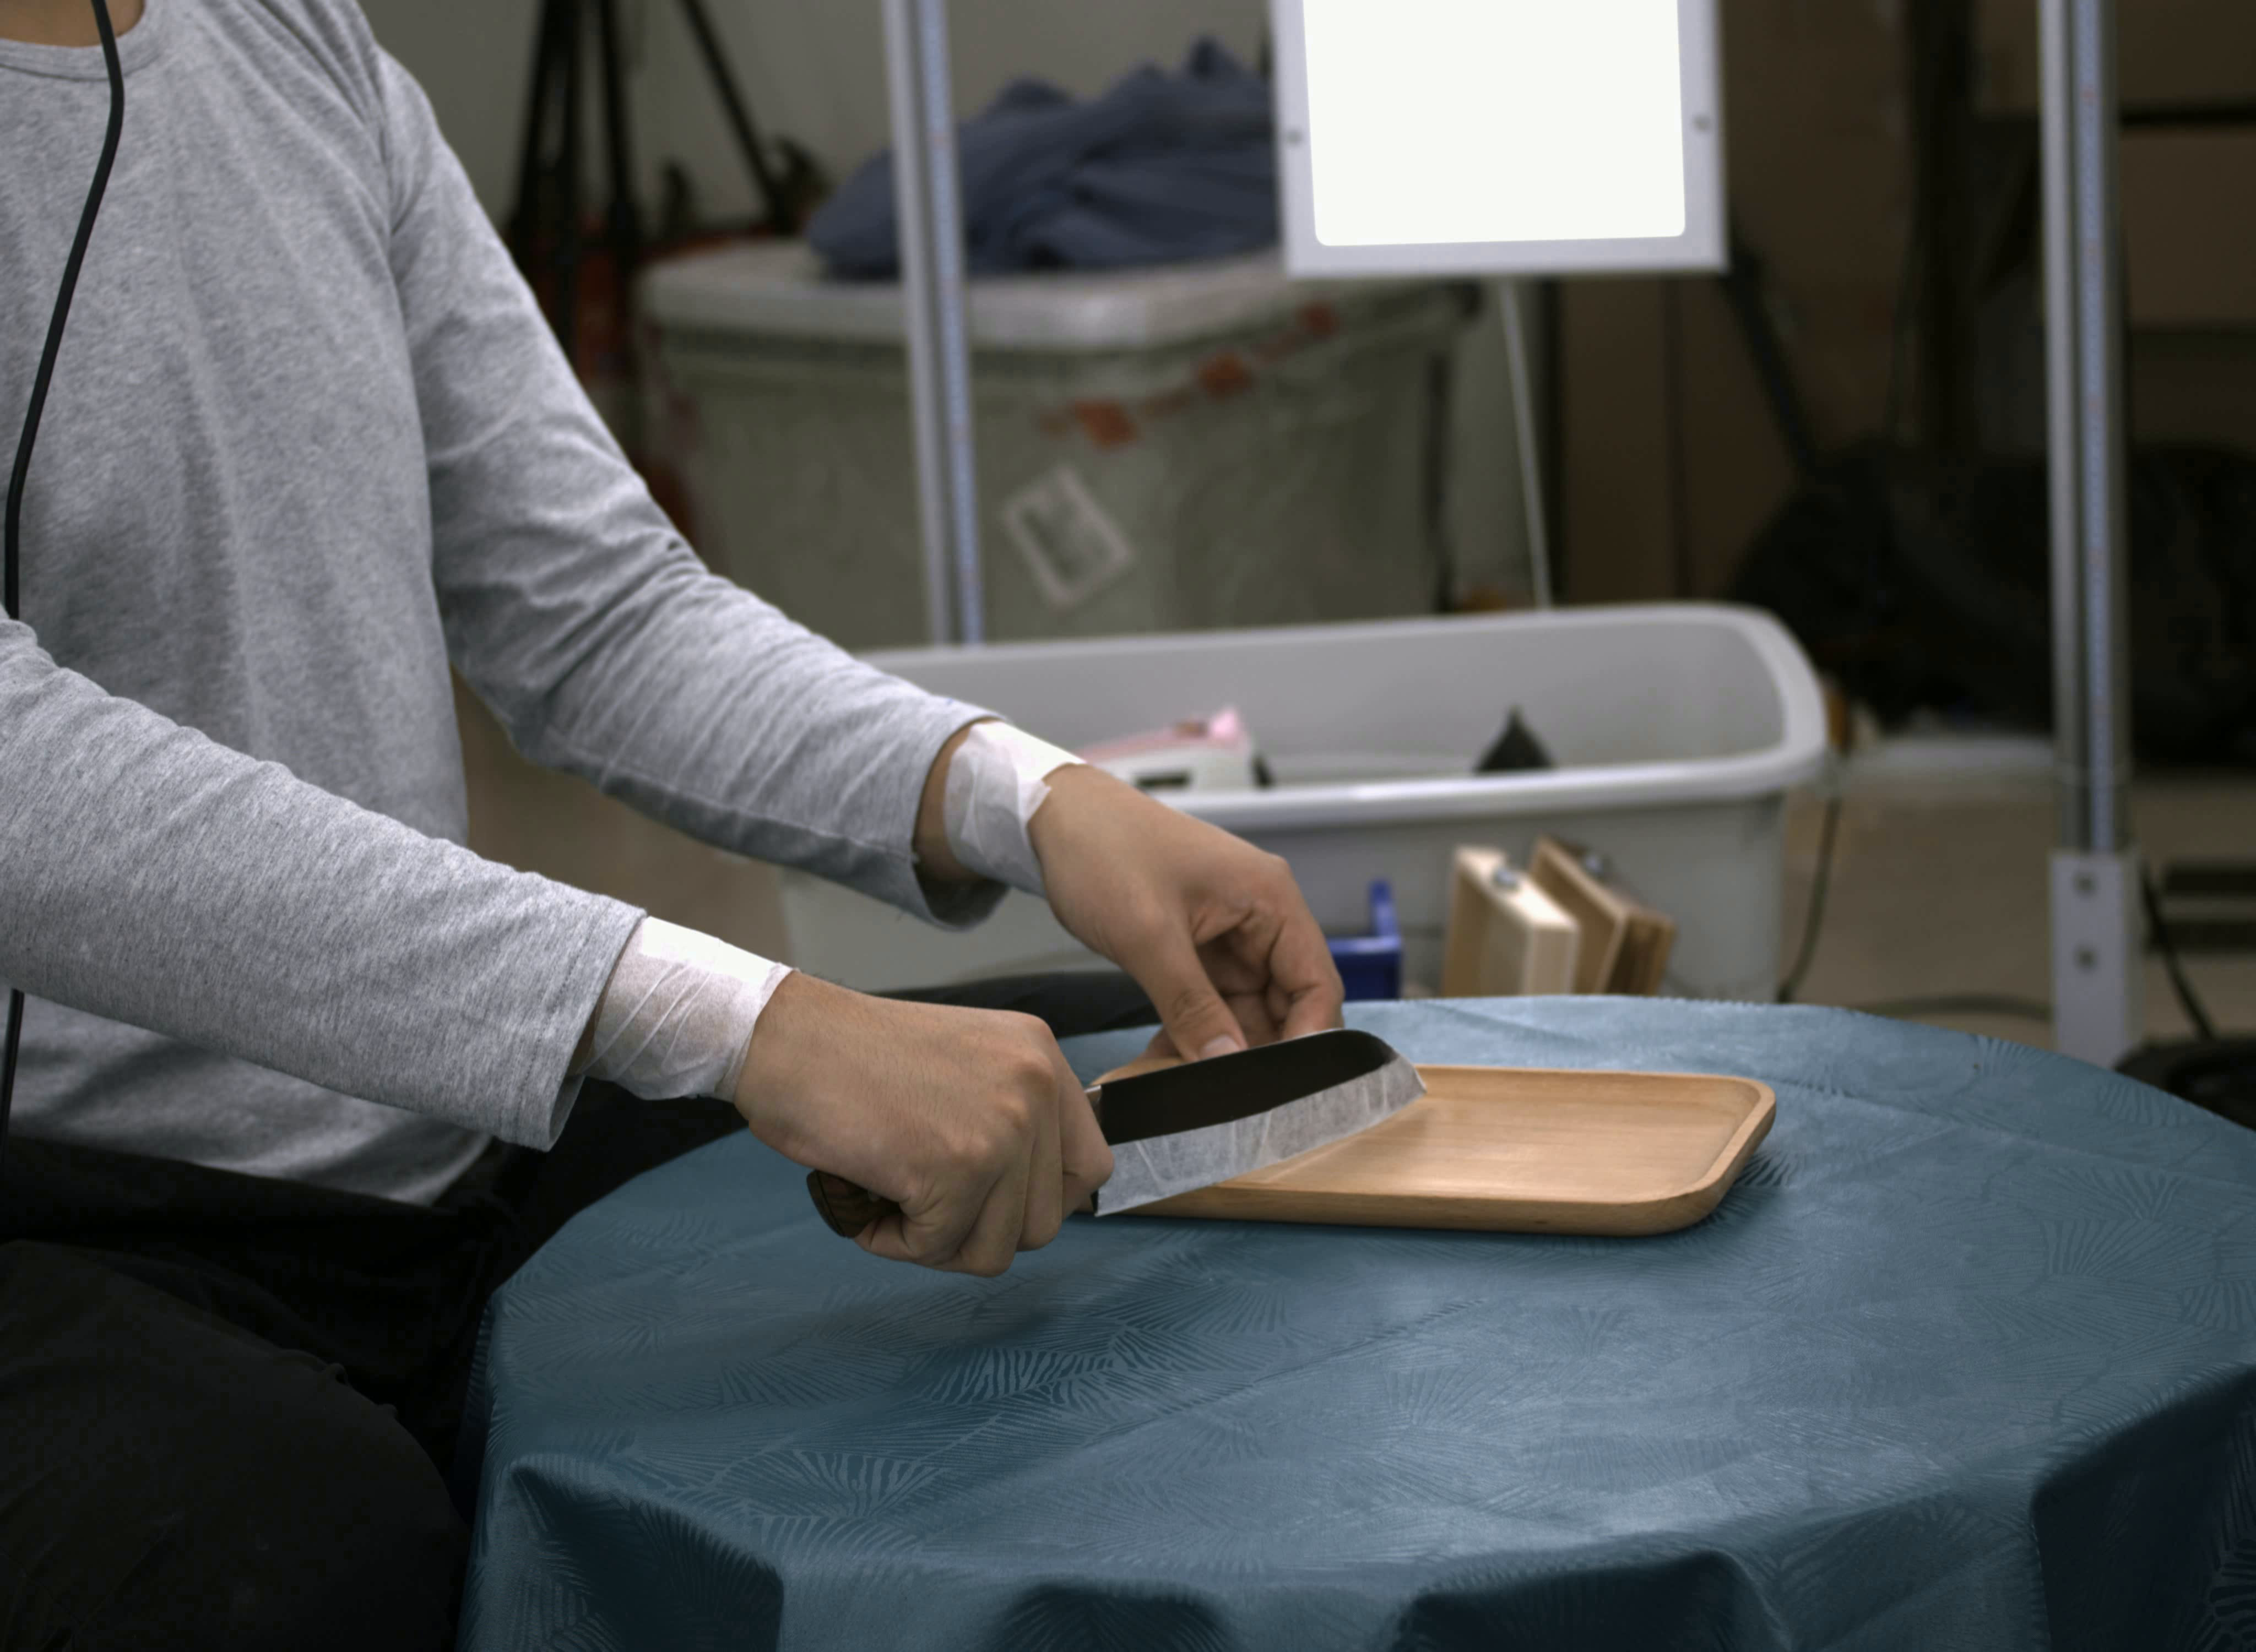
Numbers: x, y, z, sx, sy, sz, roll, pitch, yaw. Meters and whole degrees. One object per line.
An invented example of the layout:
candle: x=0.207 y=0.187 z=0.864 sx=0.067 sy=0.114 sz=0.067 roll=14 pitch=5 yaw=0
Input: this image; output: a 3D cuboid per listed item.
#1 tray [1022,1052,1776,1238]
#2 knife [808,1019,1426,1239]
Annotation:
tray: x=0.093 y=0.109 z=1.895 sx=0.255 sy=0.023 sz=0.128 roll=0 pitch=15 yaw=25
knife: x=0.004 y=0.102 z=1.829 sx=0.281 sy=0.050 sz=0.020 roll=-9 pitch=12 yaw=-43
